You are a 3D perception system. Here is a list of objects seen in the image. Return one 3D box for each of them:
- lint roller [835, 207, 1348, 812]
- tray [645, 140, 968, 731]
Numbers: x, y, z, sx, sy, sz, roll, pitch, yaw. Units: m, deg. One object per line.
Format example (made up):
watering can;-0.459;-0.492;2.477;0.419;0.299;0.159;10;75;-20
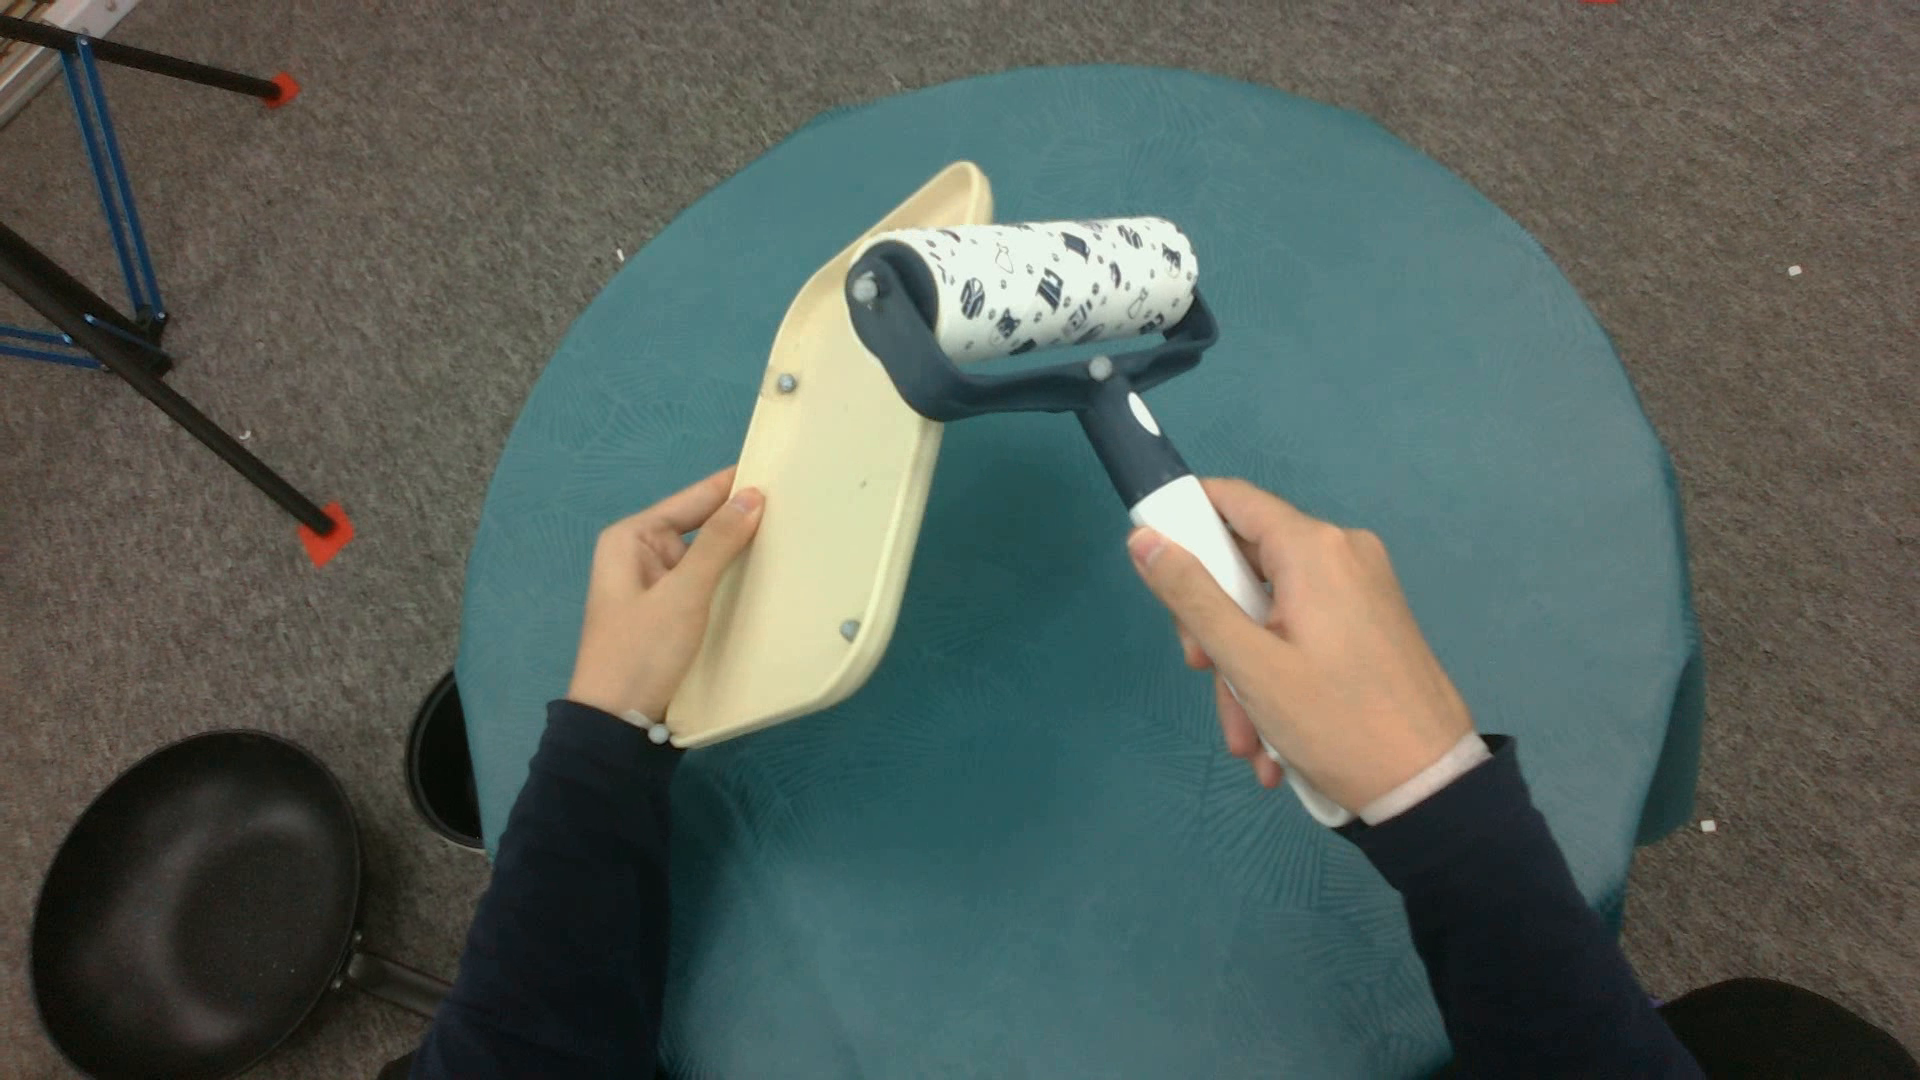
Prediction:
lint roller;0.074;-0.017;0.500;0.050;0.177;0.247;-40;77;38
tray;-0.063;-0.041;0.568;0.170;0.017;0.240;-22;50;51
